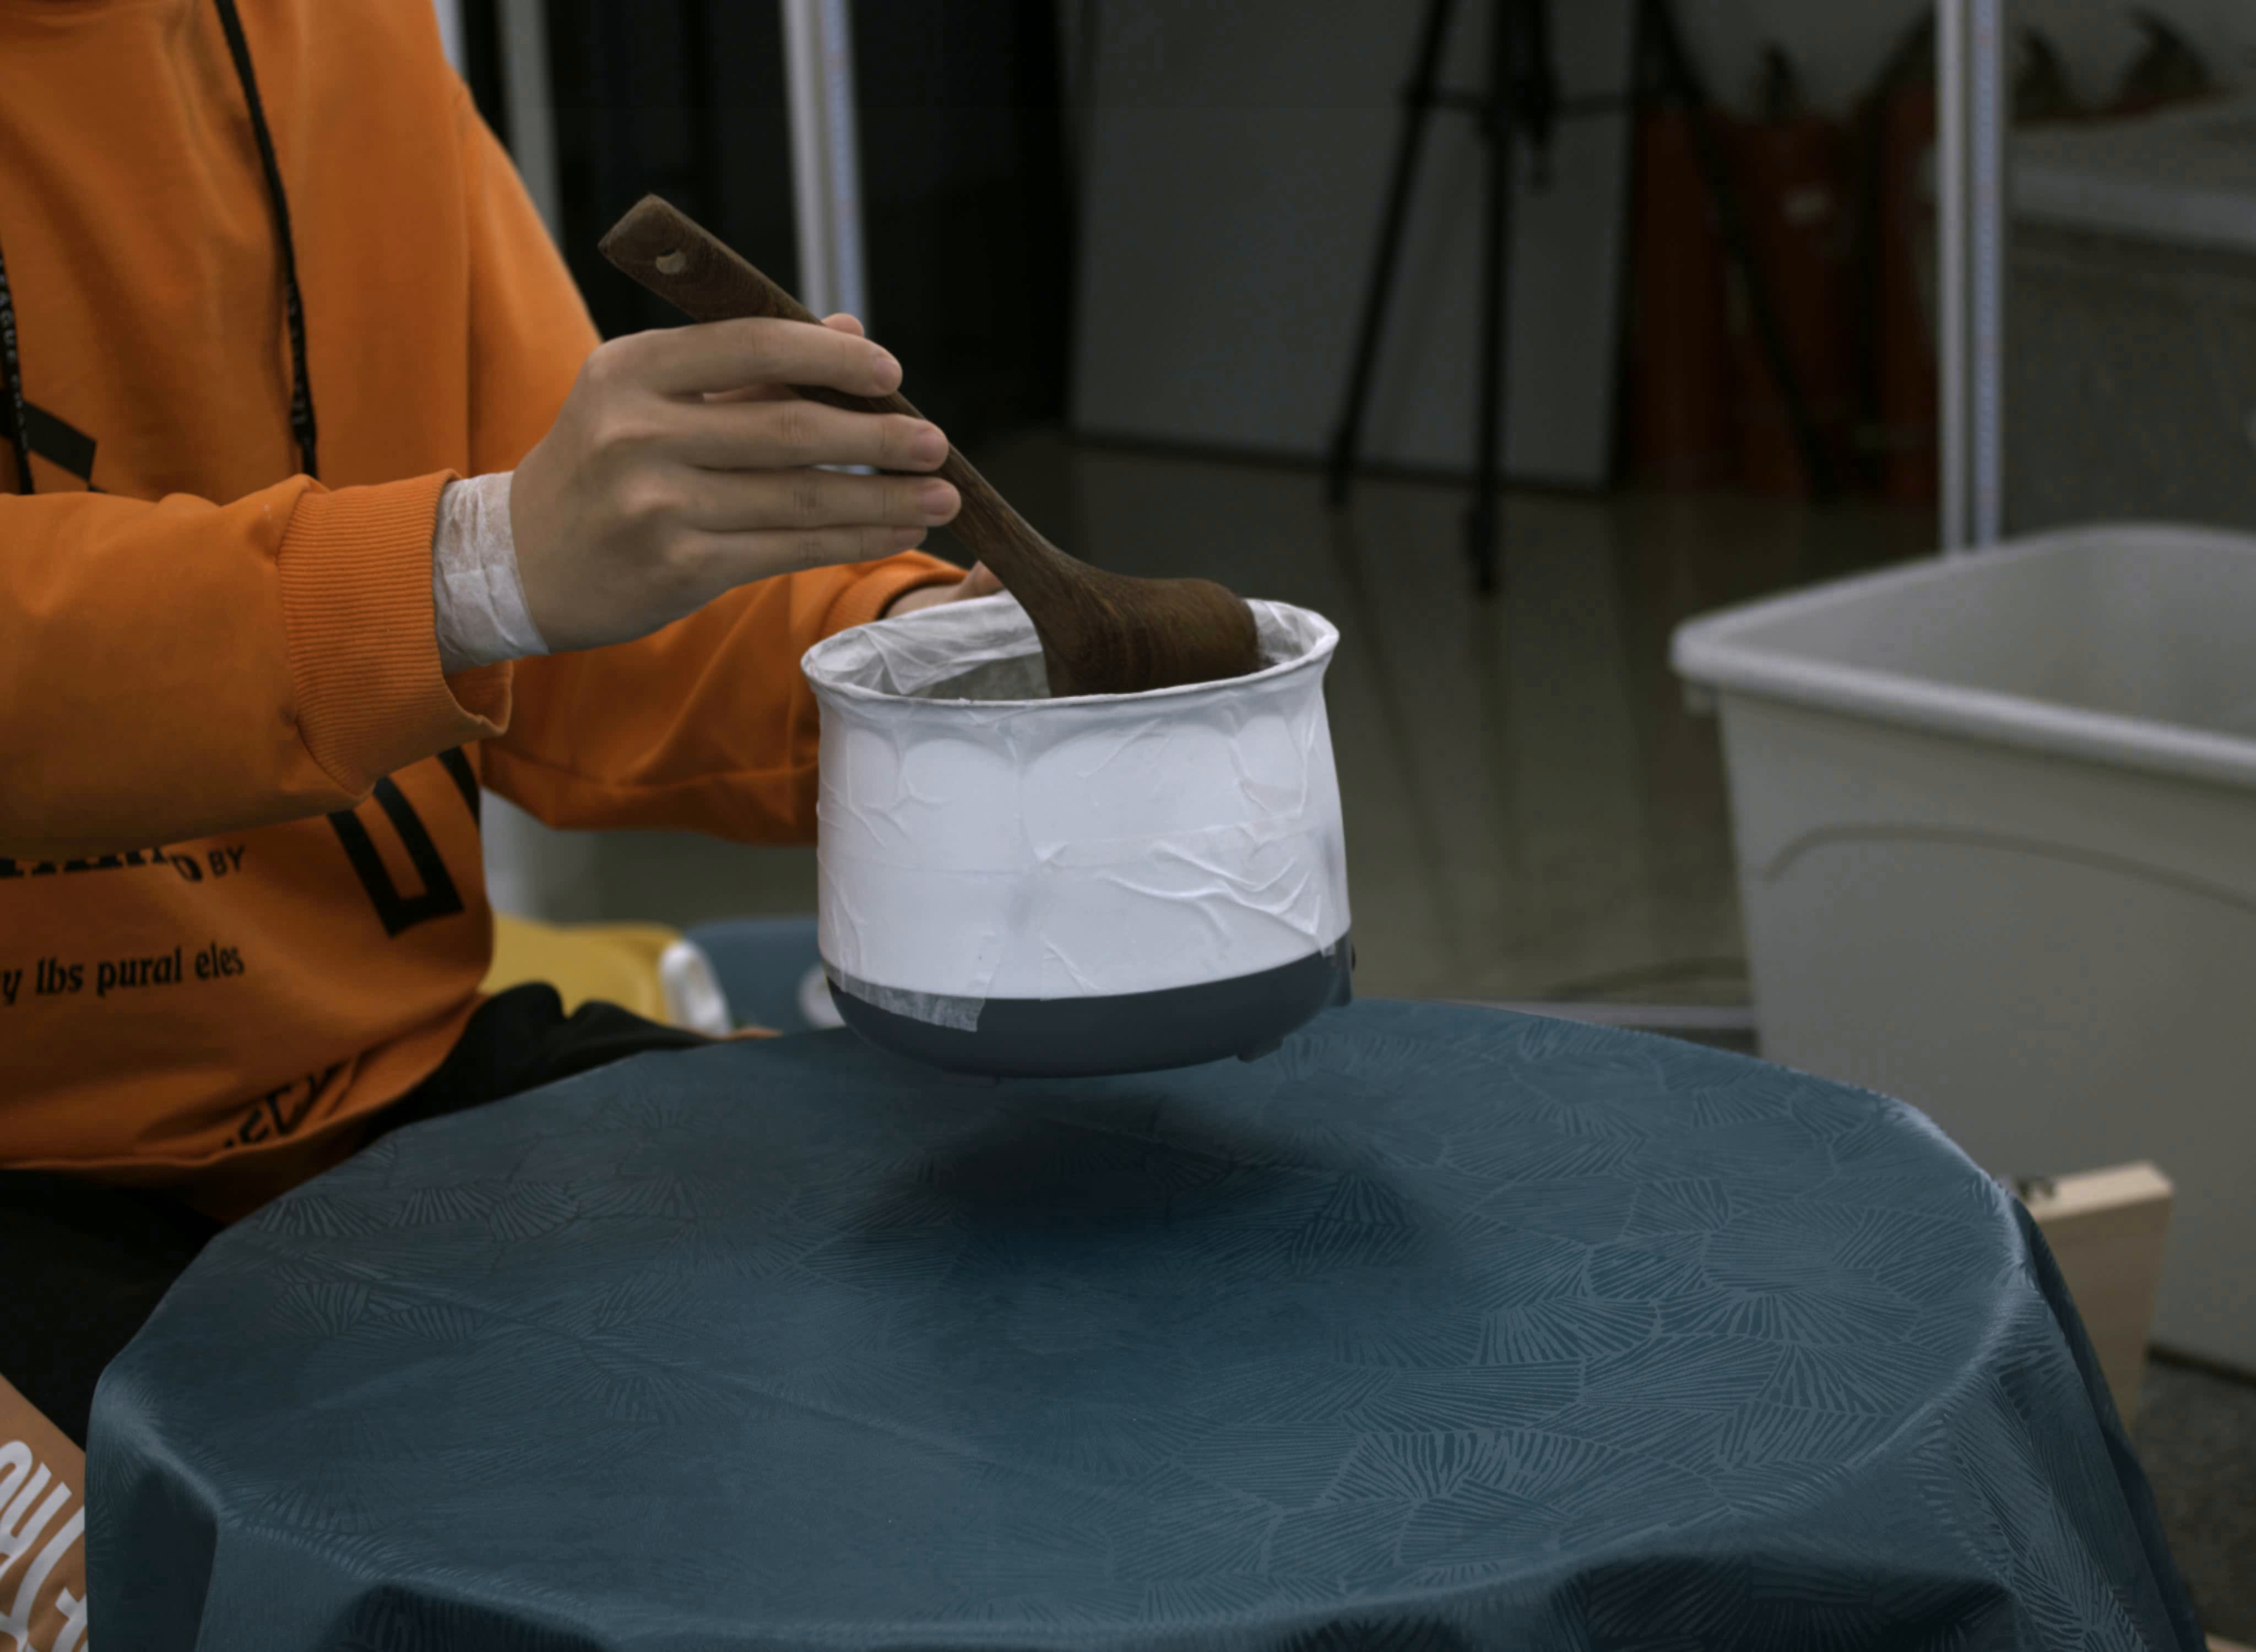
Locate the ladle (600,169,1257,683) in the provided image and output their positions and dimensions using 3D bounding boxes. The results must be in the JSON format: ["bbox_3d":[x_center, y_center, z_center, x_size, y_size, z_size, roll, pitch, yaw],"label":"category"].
[{"bbox_3d":[-0.064,-0.124,1.719,0.076,0.271,0.072,-43,24,15],"label":"ladle"}]

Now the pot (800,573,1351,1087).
[{"bbox_3d":[-0.022,-0.004,1.791,0.175,0.138,0.235,-5,13,-11],"label":"pot"}]
